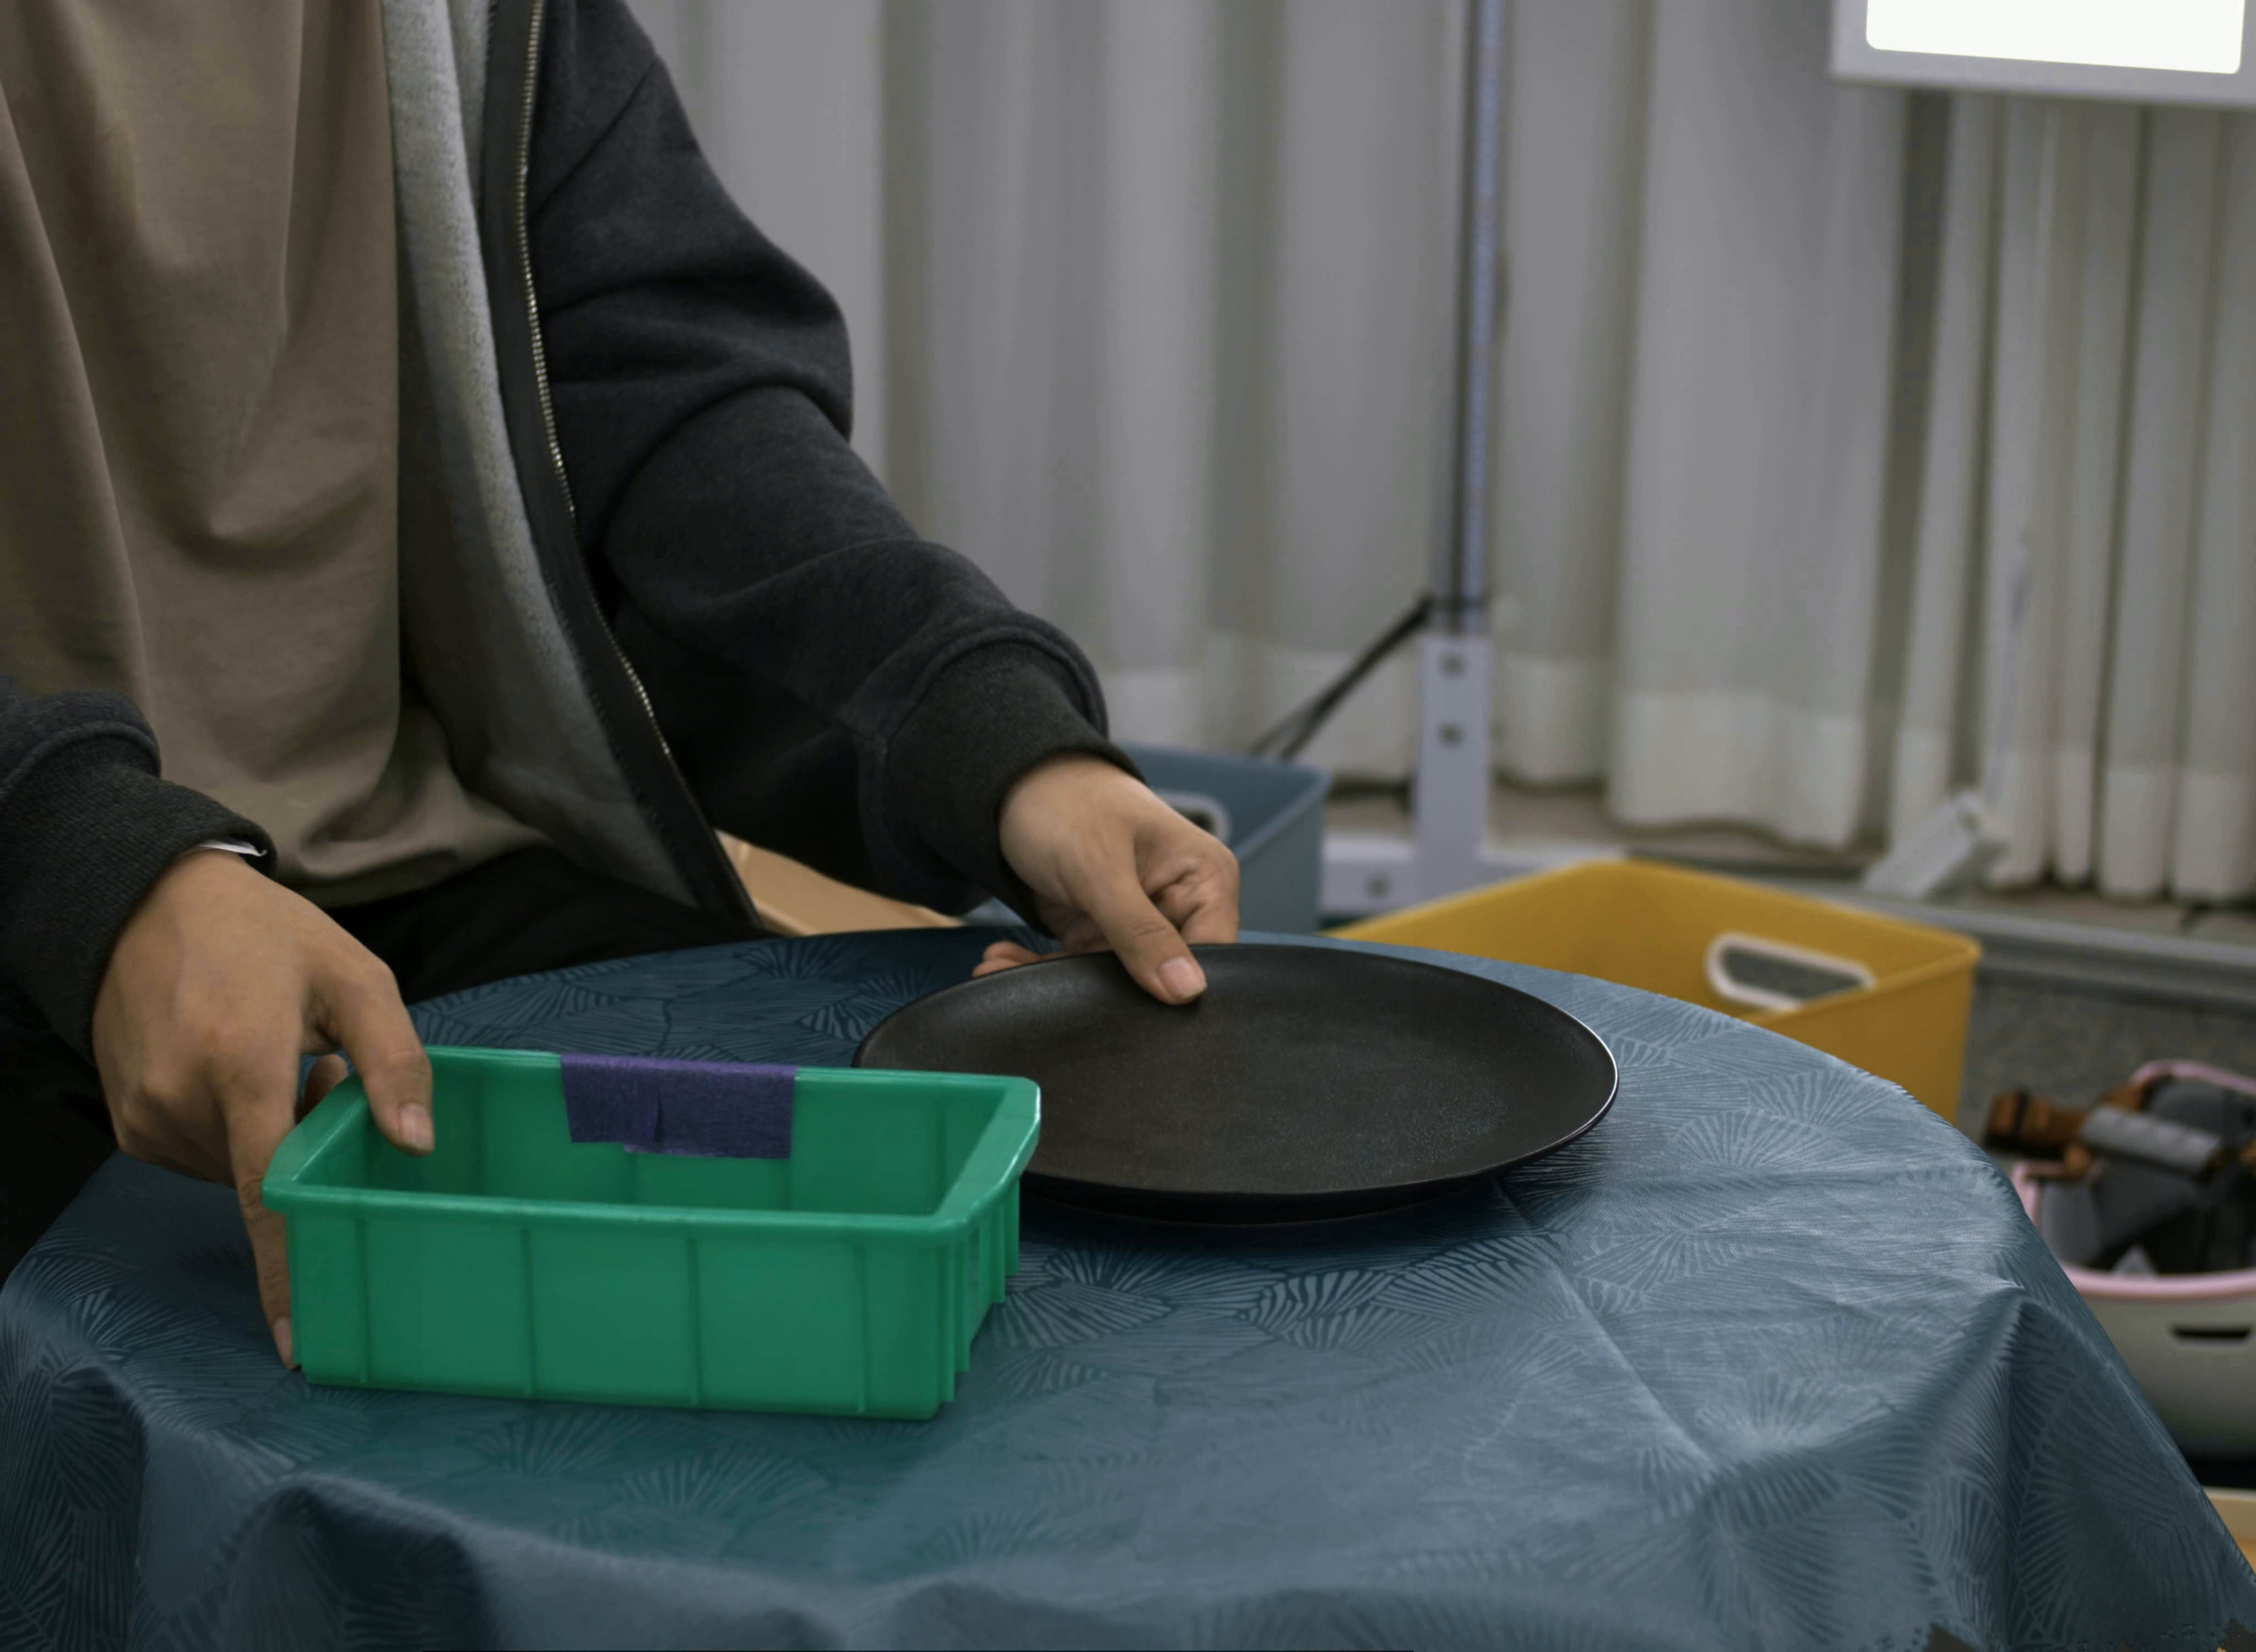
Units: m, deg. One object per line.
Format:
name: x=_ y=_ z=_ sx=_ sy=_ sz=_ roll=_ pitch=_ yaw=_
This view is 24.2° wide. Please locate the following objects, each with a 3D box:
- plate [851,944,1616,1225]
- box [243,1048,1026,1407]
plate: x=0.033 y=0.085 z=1.675 sx=0.243 sy=0.023 sz=0.243 roll=1 pitch=17 yaw=0
box: x=-0.136 y=0.114 z=1.494 sx=0.209 sy=0.066 sz=0.138 roll=0 pitch=14 yaw=7
